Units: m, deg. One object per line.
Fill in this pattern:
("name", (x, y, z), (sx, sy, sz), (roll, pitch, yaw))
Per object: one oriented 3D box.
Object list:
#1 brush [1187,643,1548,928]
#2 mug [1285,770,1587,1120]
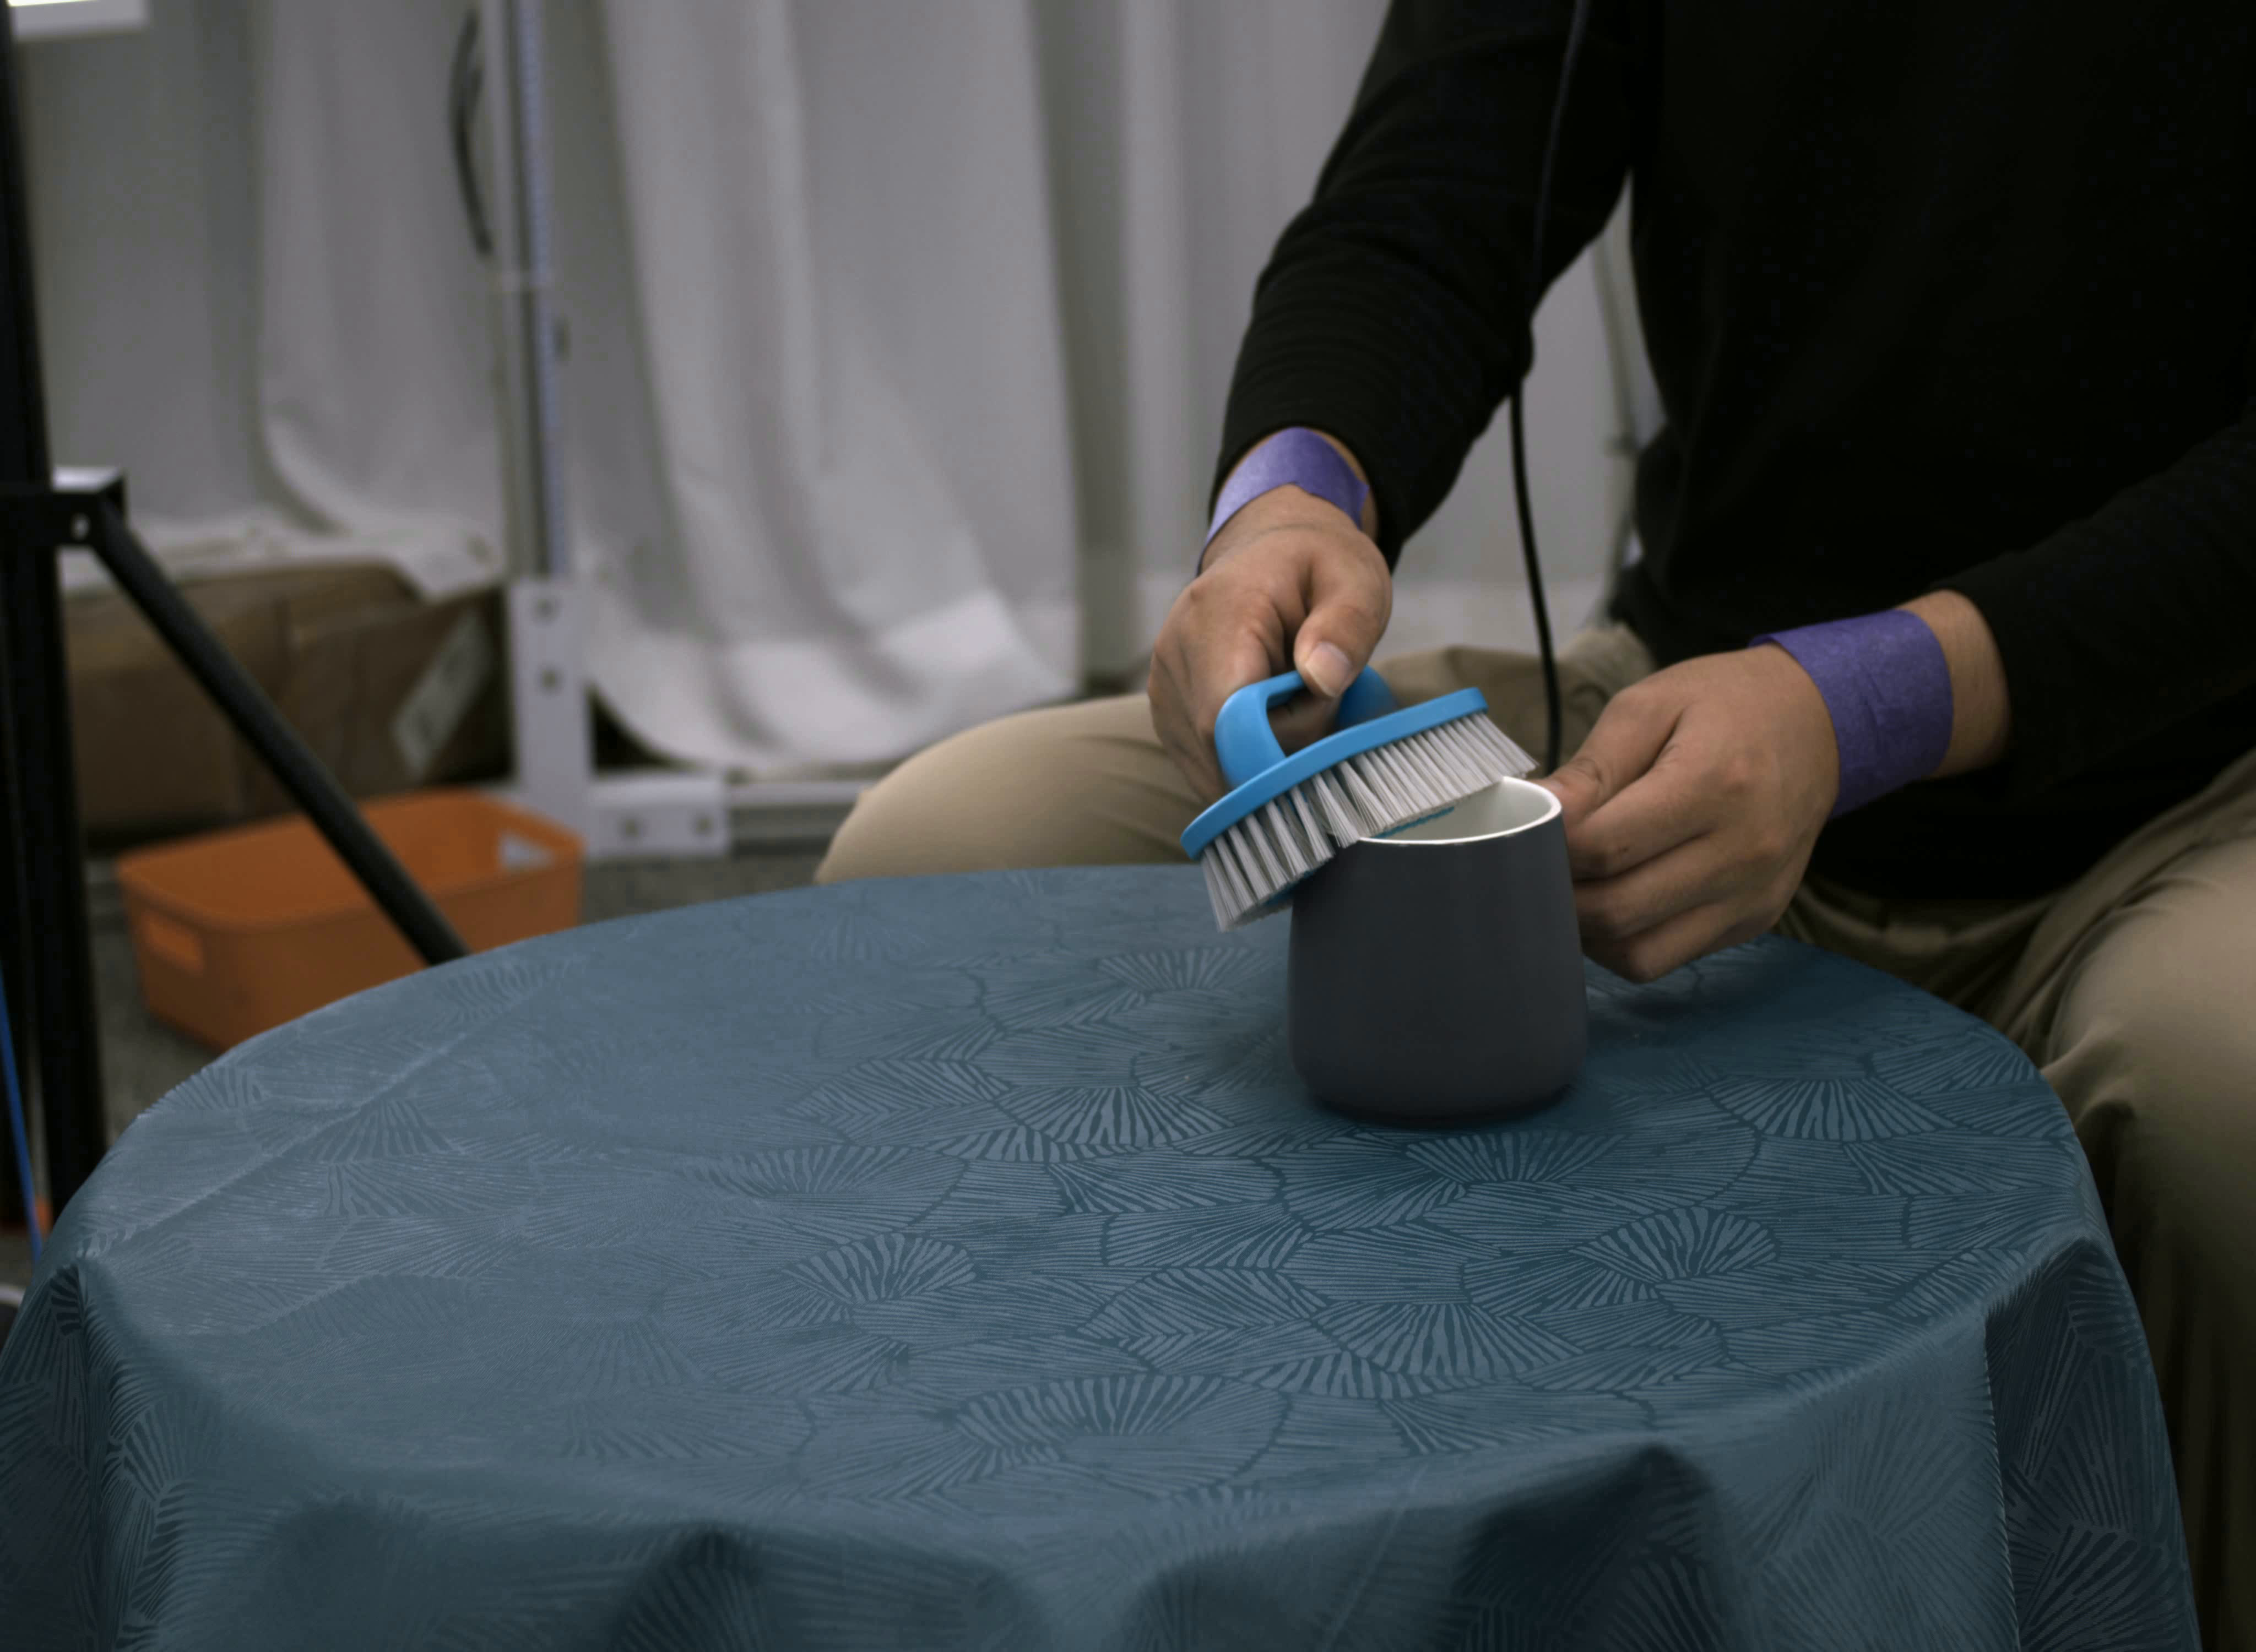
("brush", (0.065, -0.022, 1.649), (0.085, 0.064, 0.139), (-40, -12, 34))
("mug", (0.103, 0.032, 1.638), (0.095, 0.090, 0.121), (11, 22, 37))
